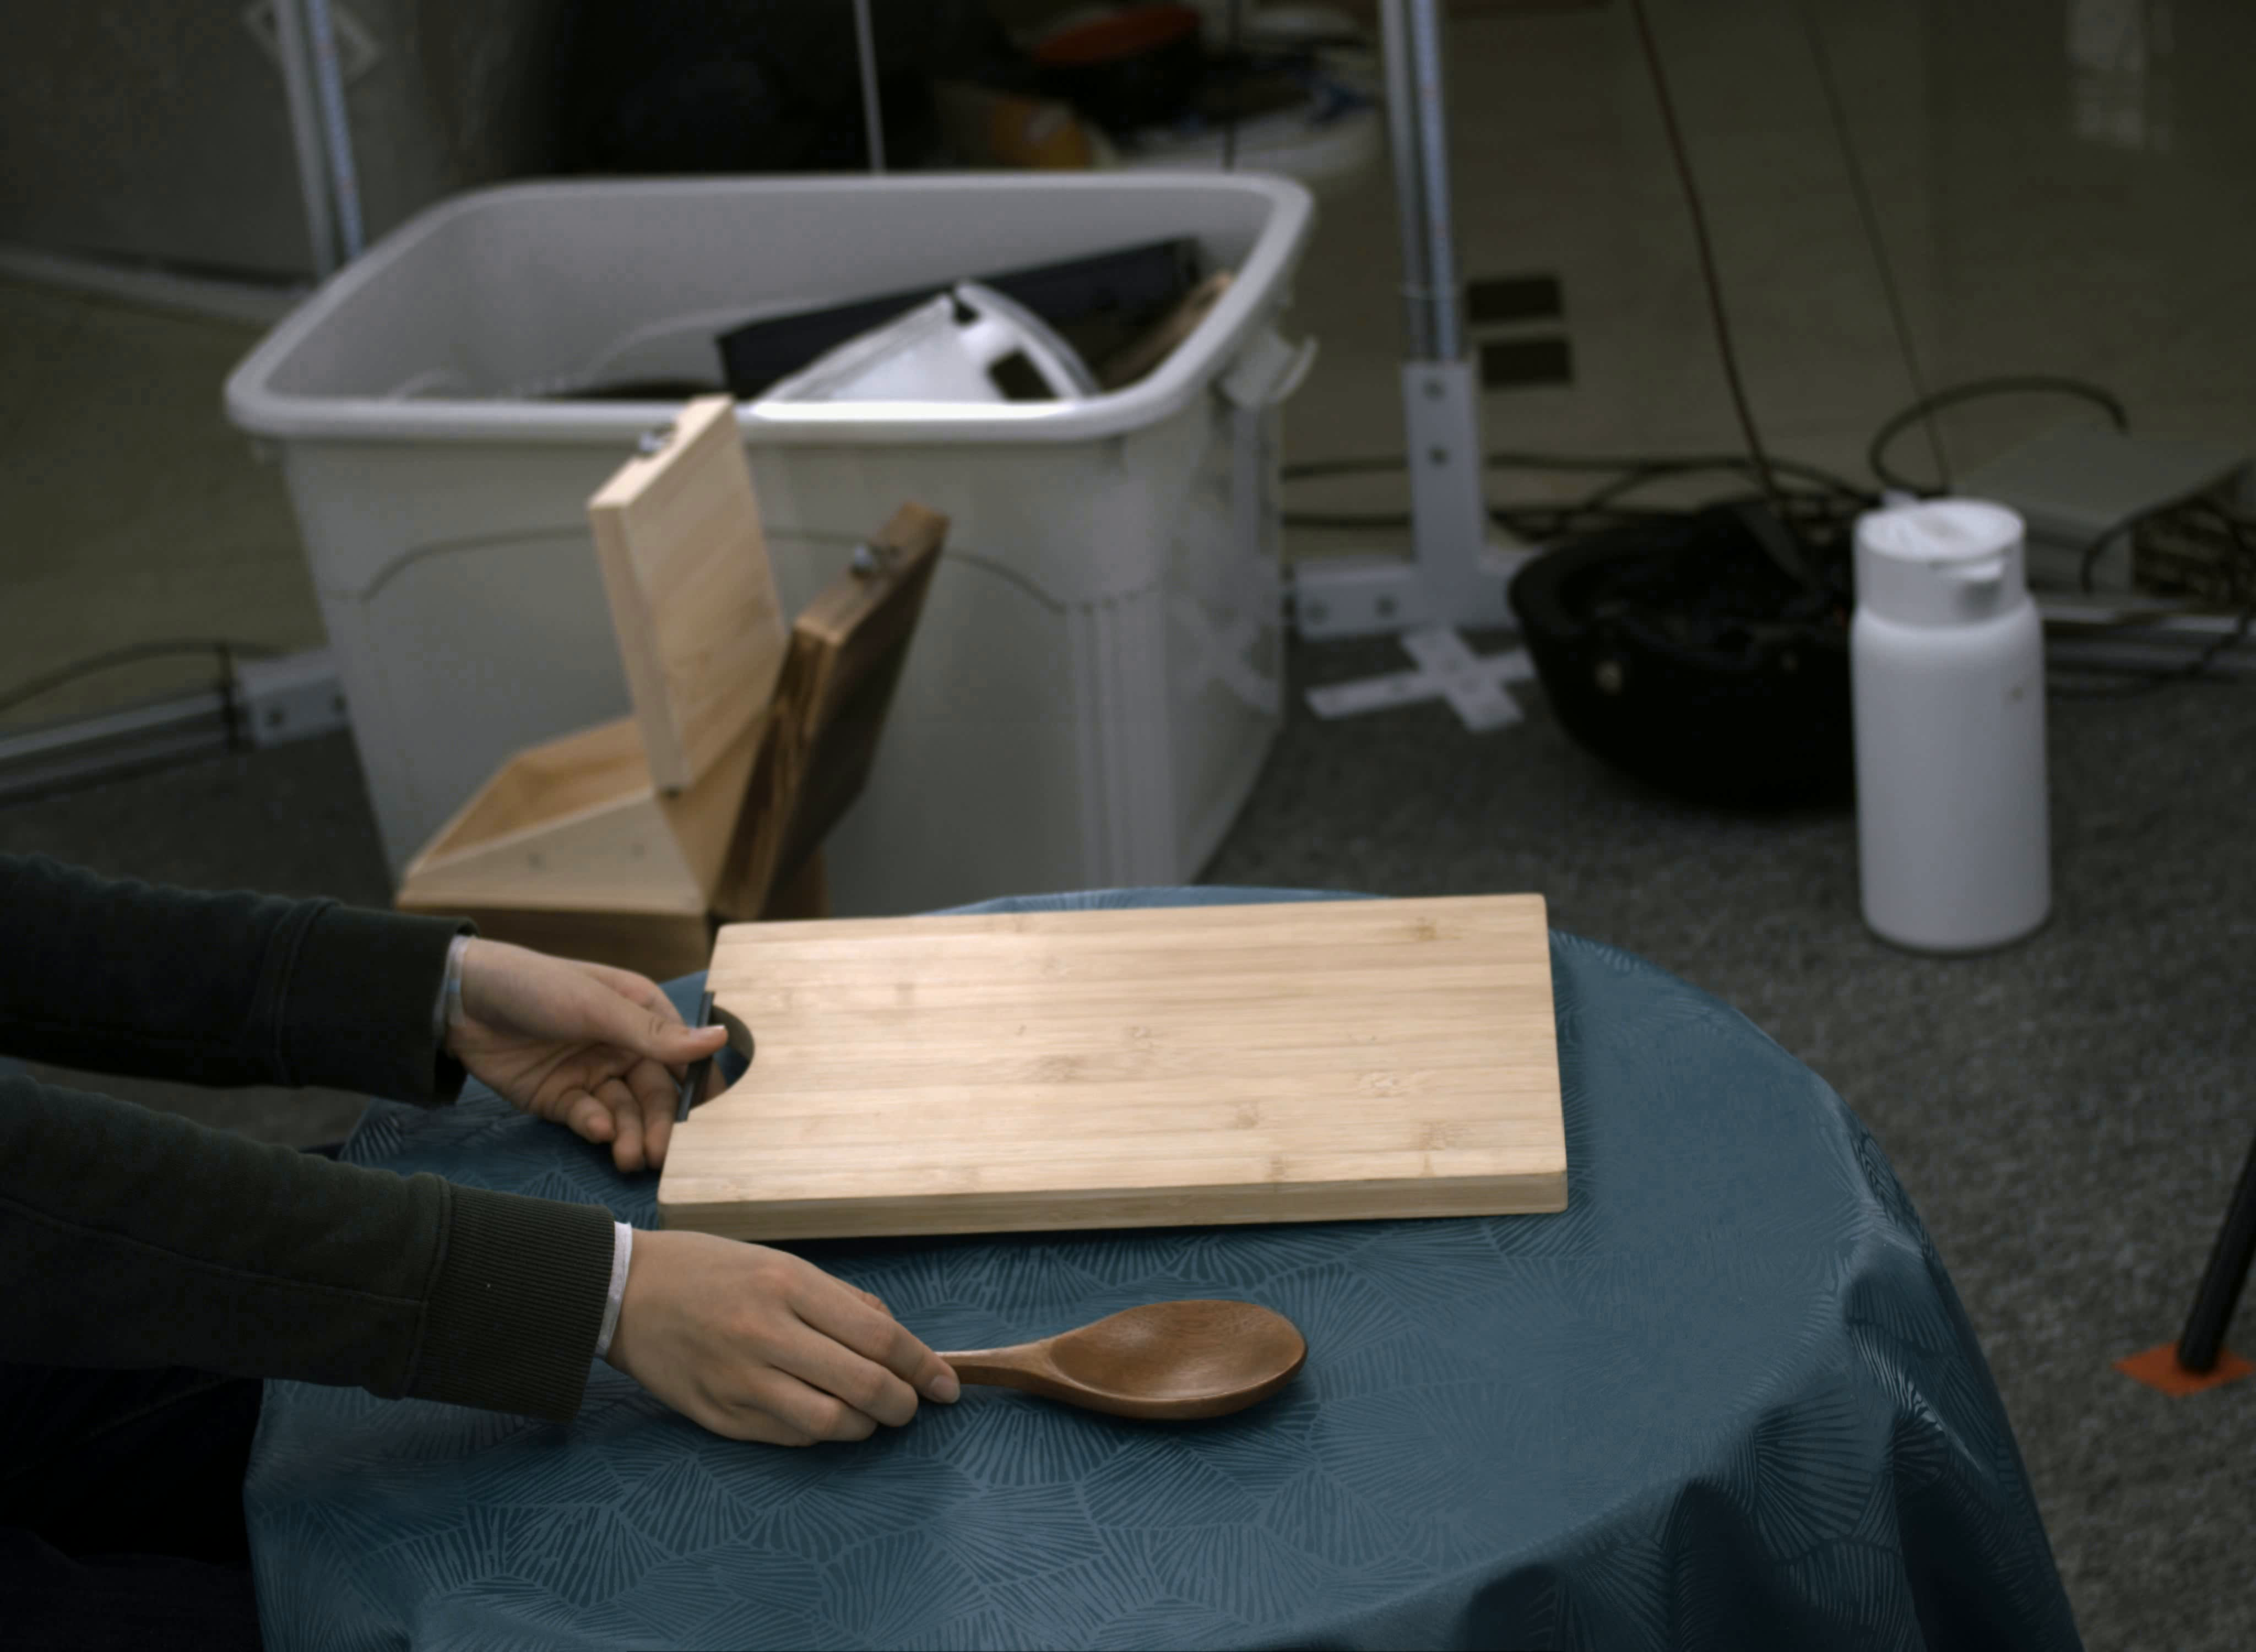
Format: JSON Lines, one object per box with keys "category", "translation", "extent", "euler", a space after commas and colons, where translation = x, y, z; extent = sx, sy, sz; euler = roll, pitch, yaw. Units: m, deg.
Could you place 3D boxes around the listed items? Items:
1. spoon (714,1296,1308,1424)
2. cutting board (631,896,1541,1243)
{"category": "spoon", "translation": [-0.042, 0.193, 2.025], "extent": [0.215, 0.017, 0.074], "euler": [-1, 27, 10]}
{"category": "cutting board", "translation": [-0.010, 0.093, 2.216], "extent": [0.348, 0.024, 0.247], "euler": [-2, 24, 2]}
